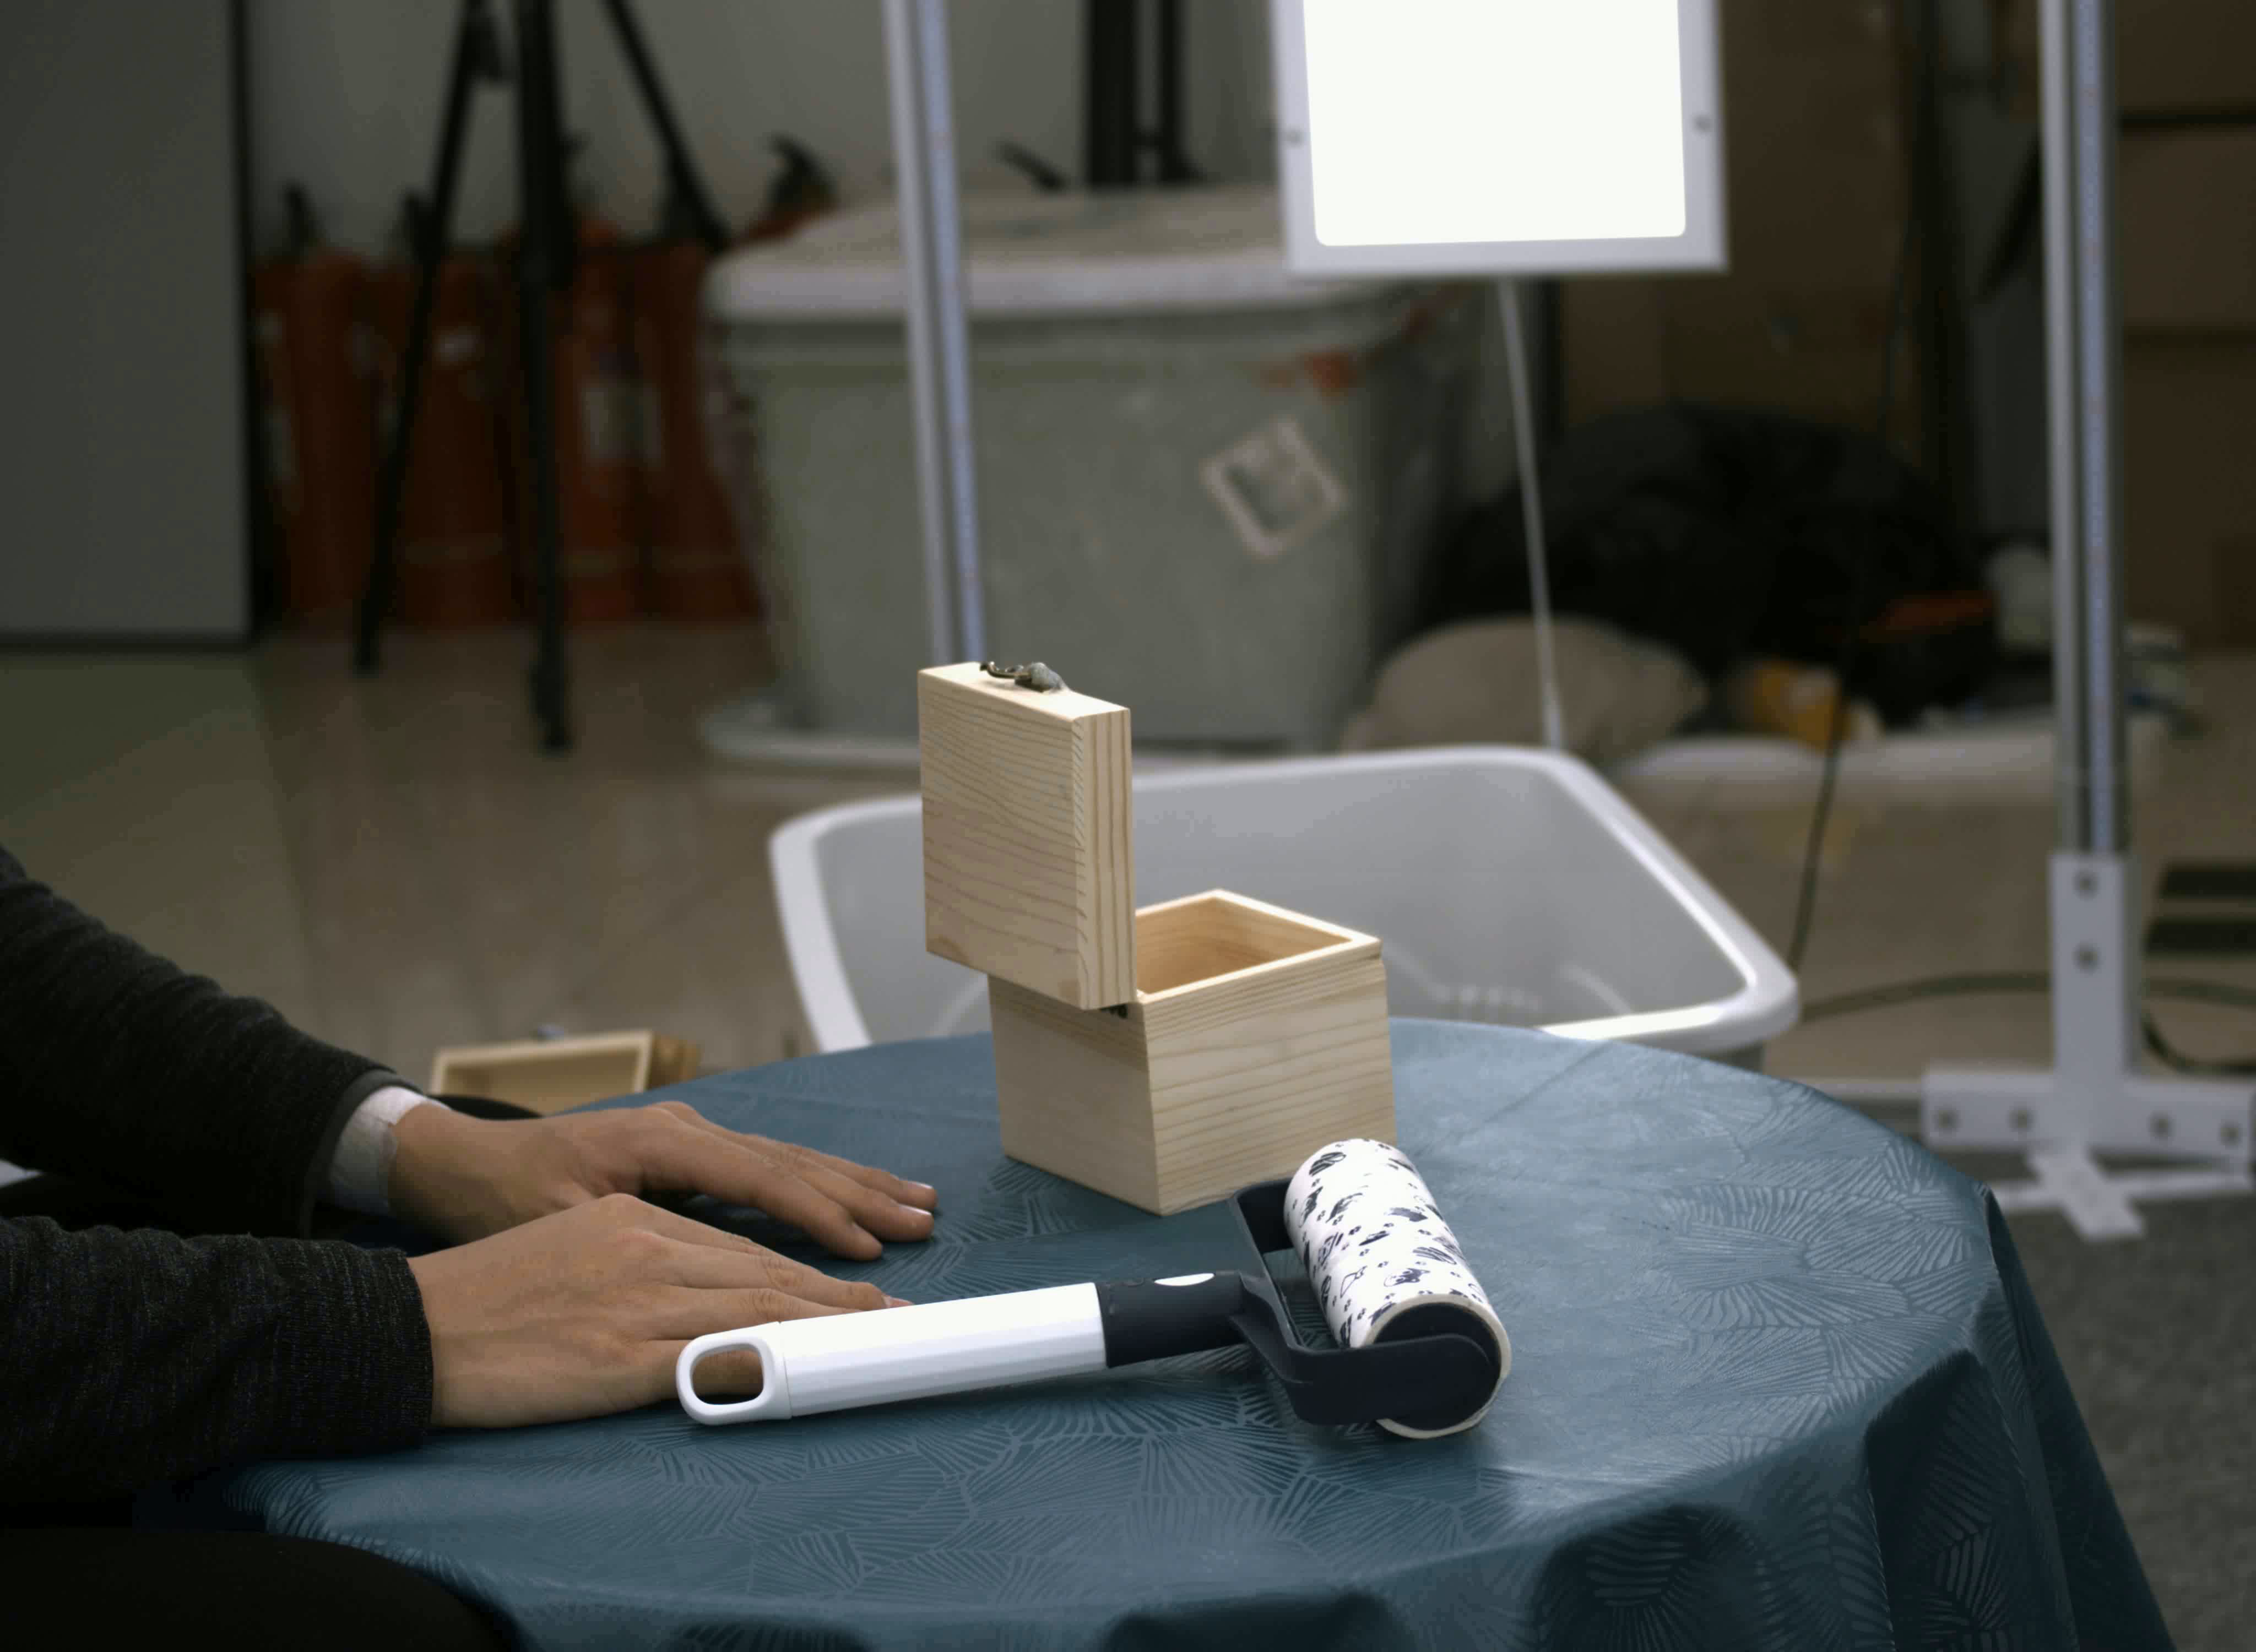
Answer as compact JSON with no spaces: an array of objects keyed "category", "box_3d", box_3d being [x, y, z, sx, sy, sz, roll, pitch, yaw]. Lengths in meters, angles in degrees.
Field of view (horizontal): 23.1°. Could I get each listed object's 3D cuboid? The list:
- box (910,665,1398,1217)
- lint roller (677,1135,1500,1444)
[{"category":"box","box_3d":[0.010,0.029,1.907,0.131,0.185,0.104,-14,16,-30]},{"category":"lint roller","box_3d":[-0.017,0.154,1.703,0.246,0.050,0.176,-7,15,-3]}]
